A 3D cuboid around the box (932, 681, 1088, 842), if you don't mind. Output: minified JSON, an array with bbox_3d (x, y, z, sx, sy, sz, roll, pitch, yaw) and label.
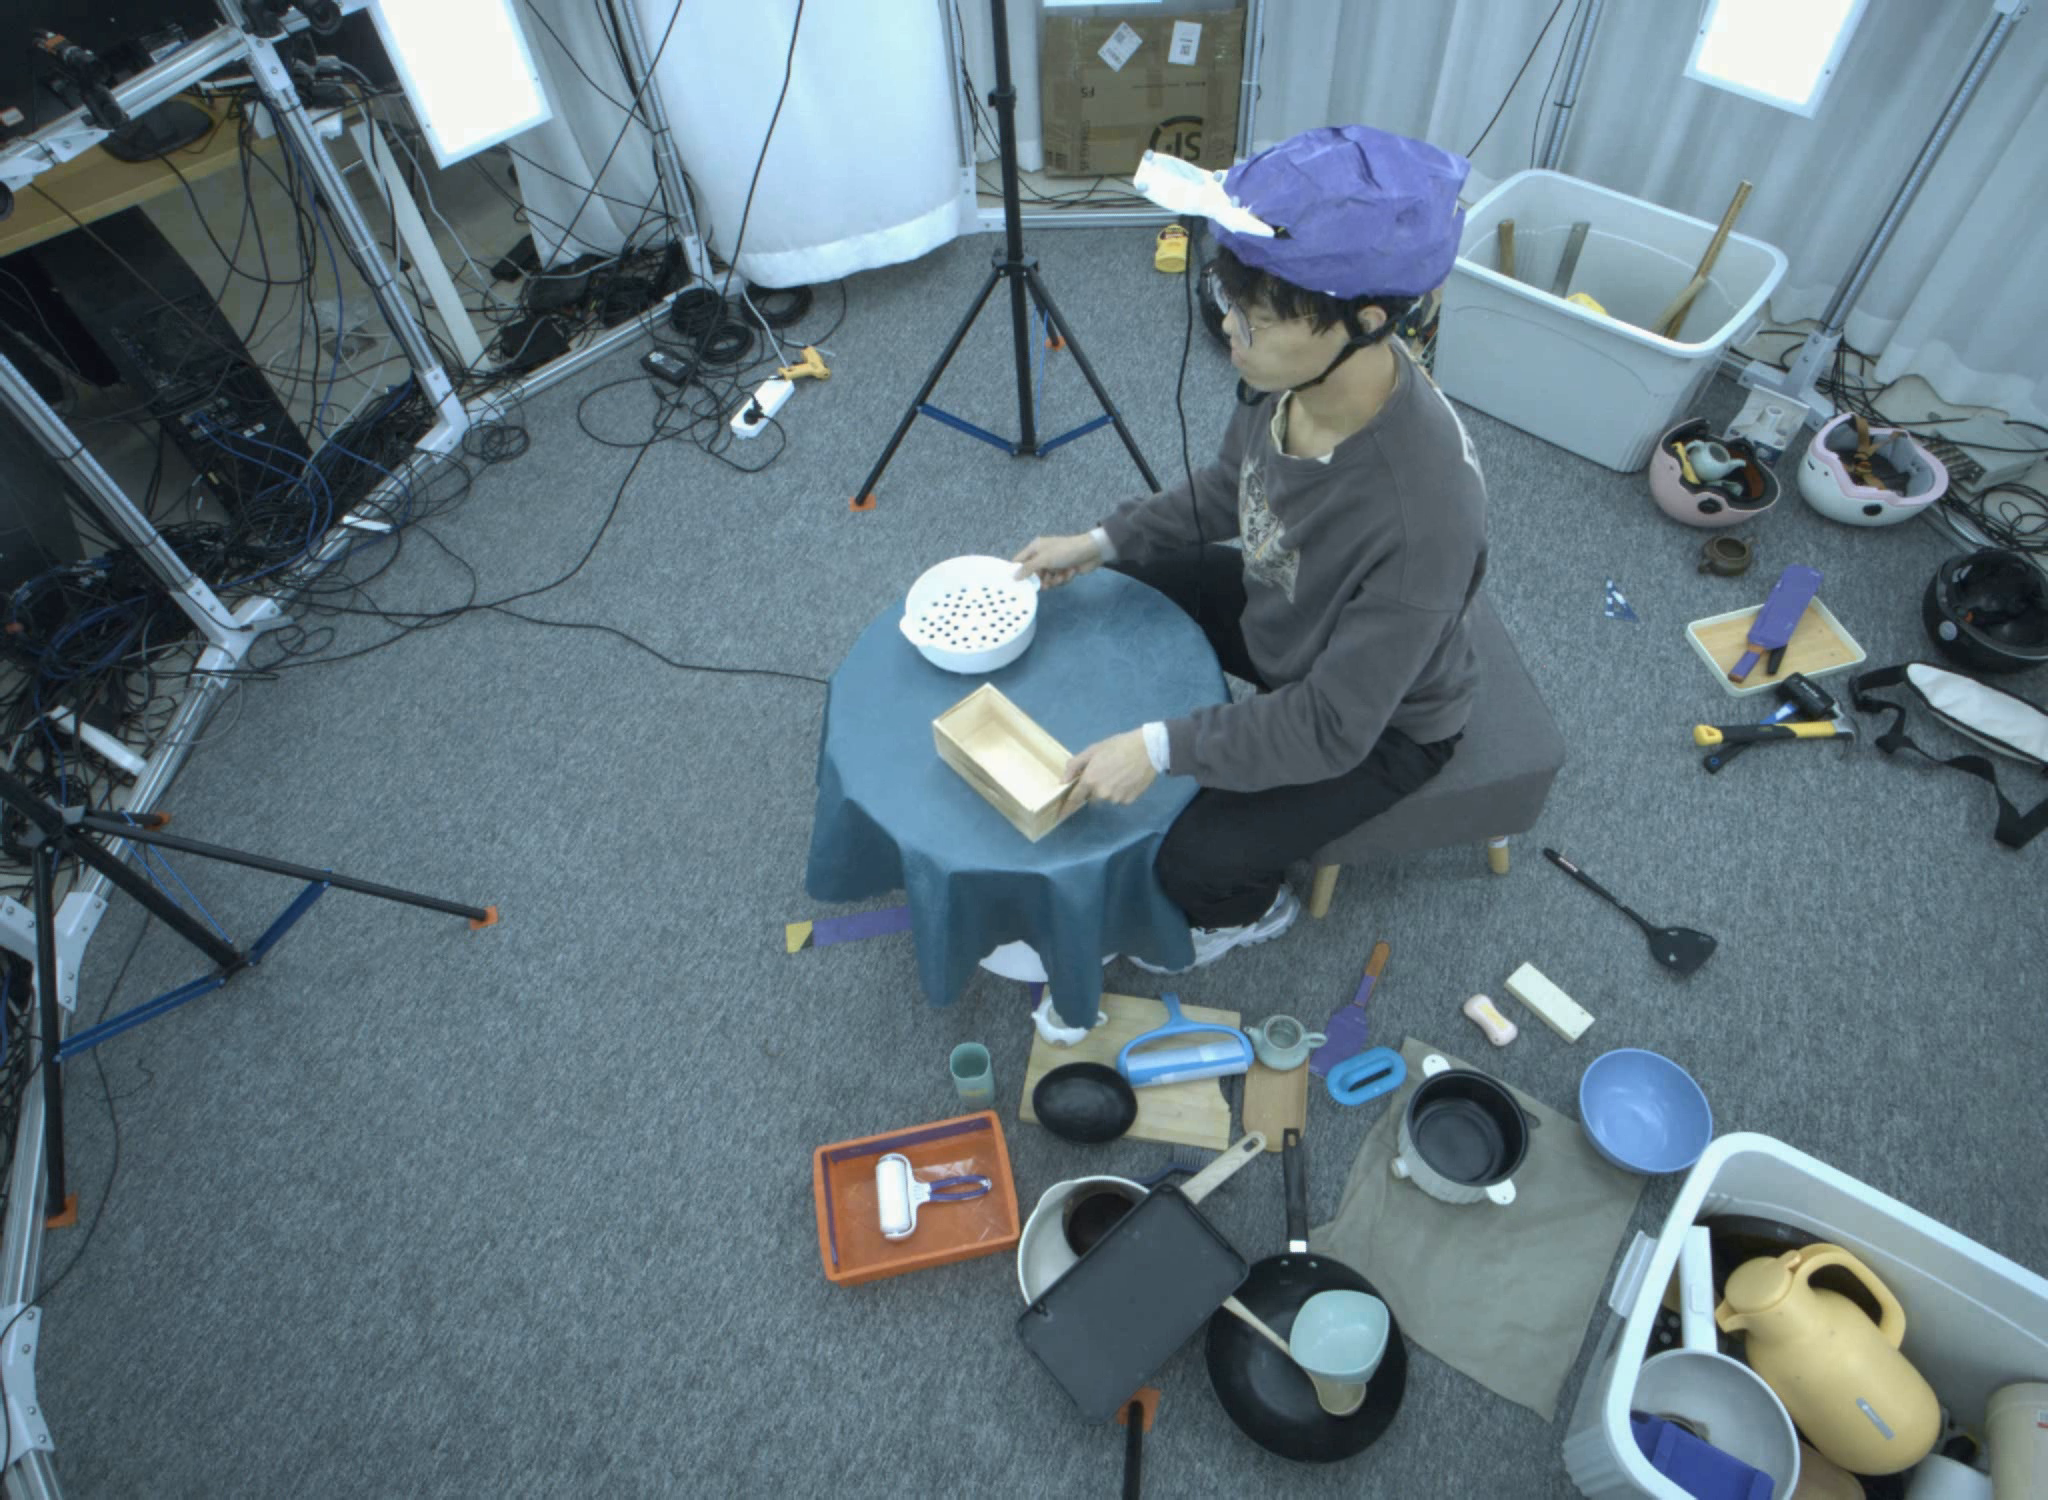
[{"bbox_3d":[-0.020,0.014,1.725,0.108,0.081,0.207,-37,61,-22],"label":"box"}]

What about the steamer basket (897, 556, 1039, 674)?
[{"bbox_3d":[-0.084,-0.207,1.895,0.232,0.070,0.198,-28,59,-18],"label":"steamer basket"}]
